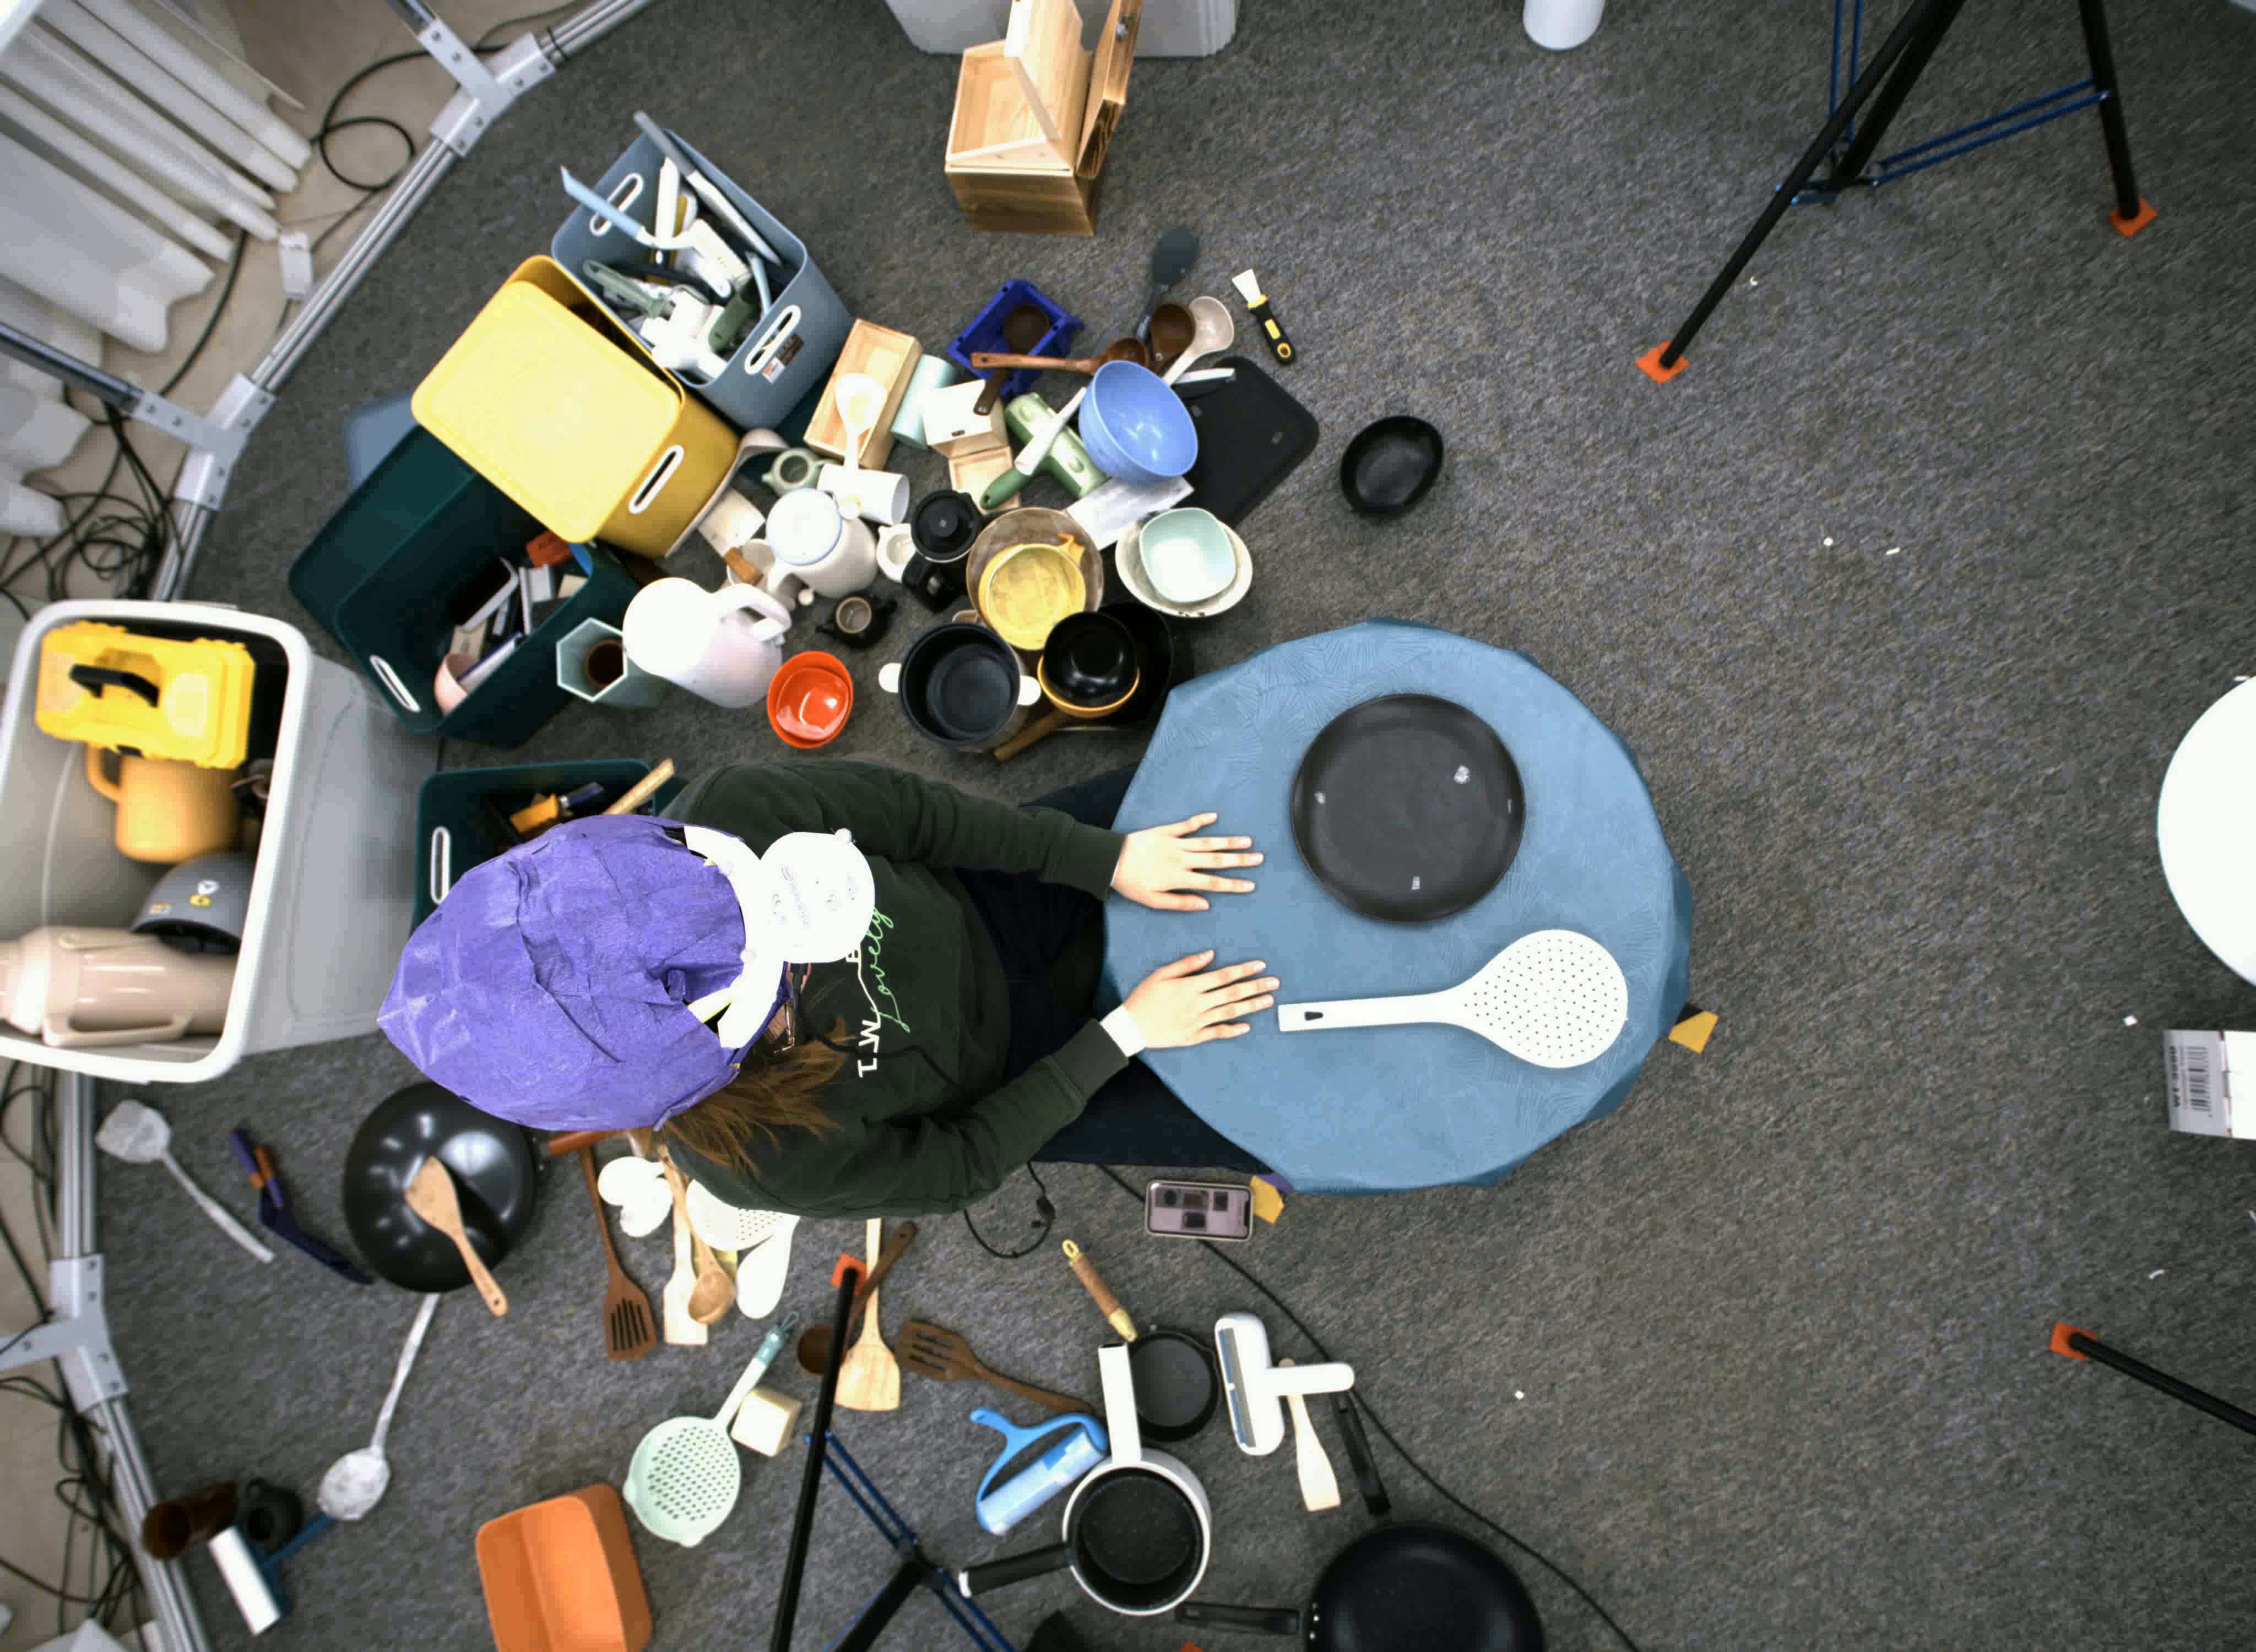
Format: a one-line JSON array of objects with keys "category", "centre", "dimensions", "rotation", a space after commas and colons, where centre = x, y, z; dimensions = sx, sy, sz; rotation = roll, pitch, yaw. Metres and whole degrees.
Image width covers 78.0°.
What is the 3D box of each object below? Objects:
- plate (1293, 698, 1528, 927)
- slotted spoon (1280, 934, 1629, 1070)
[{"category": "plate", "centre": [0.296, -0.016, 1.454], "dimensions": [0.245, 0.023, 0.243], "rotation": [-1, 86, 10]}, {"category": "slotted spoon", "centre": [0.331, 0.187, 1.423], "dimensions": [0.351, 0.046, 0.135], "rotation": [-5, 83, 11]}]
